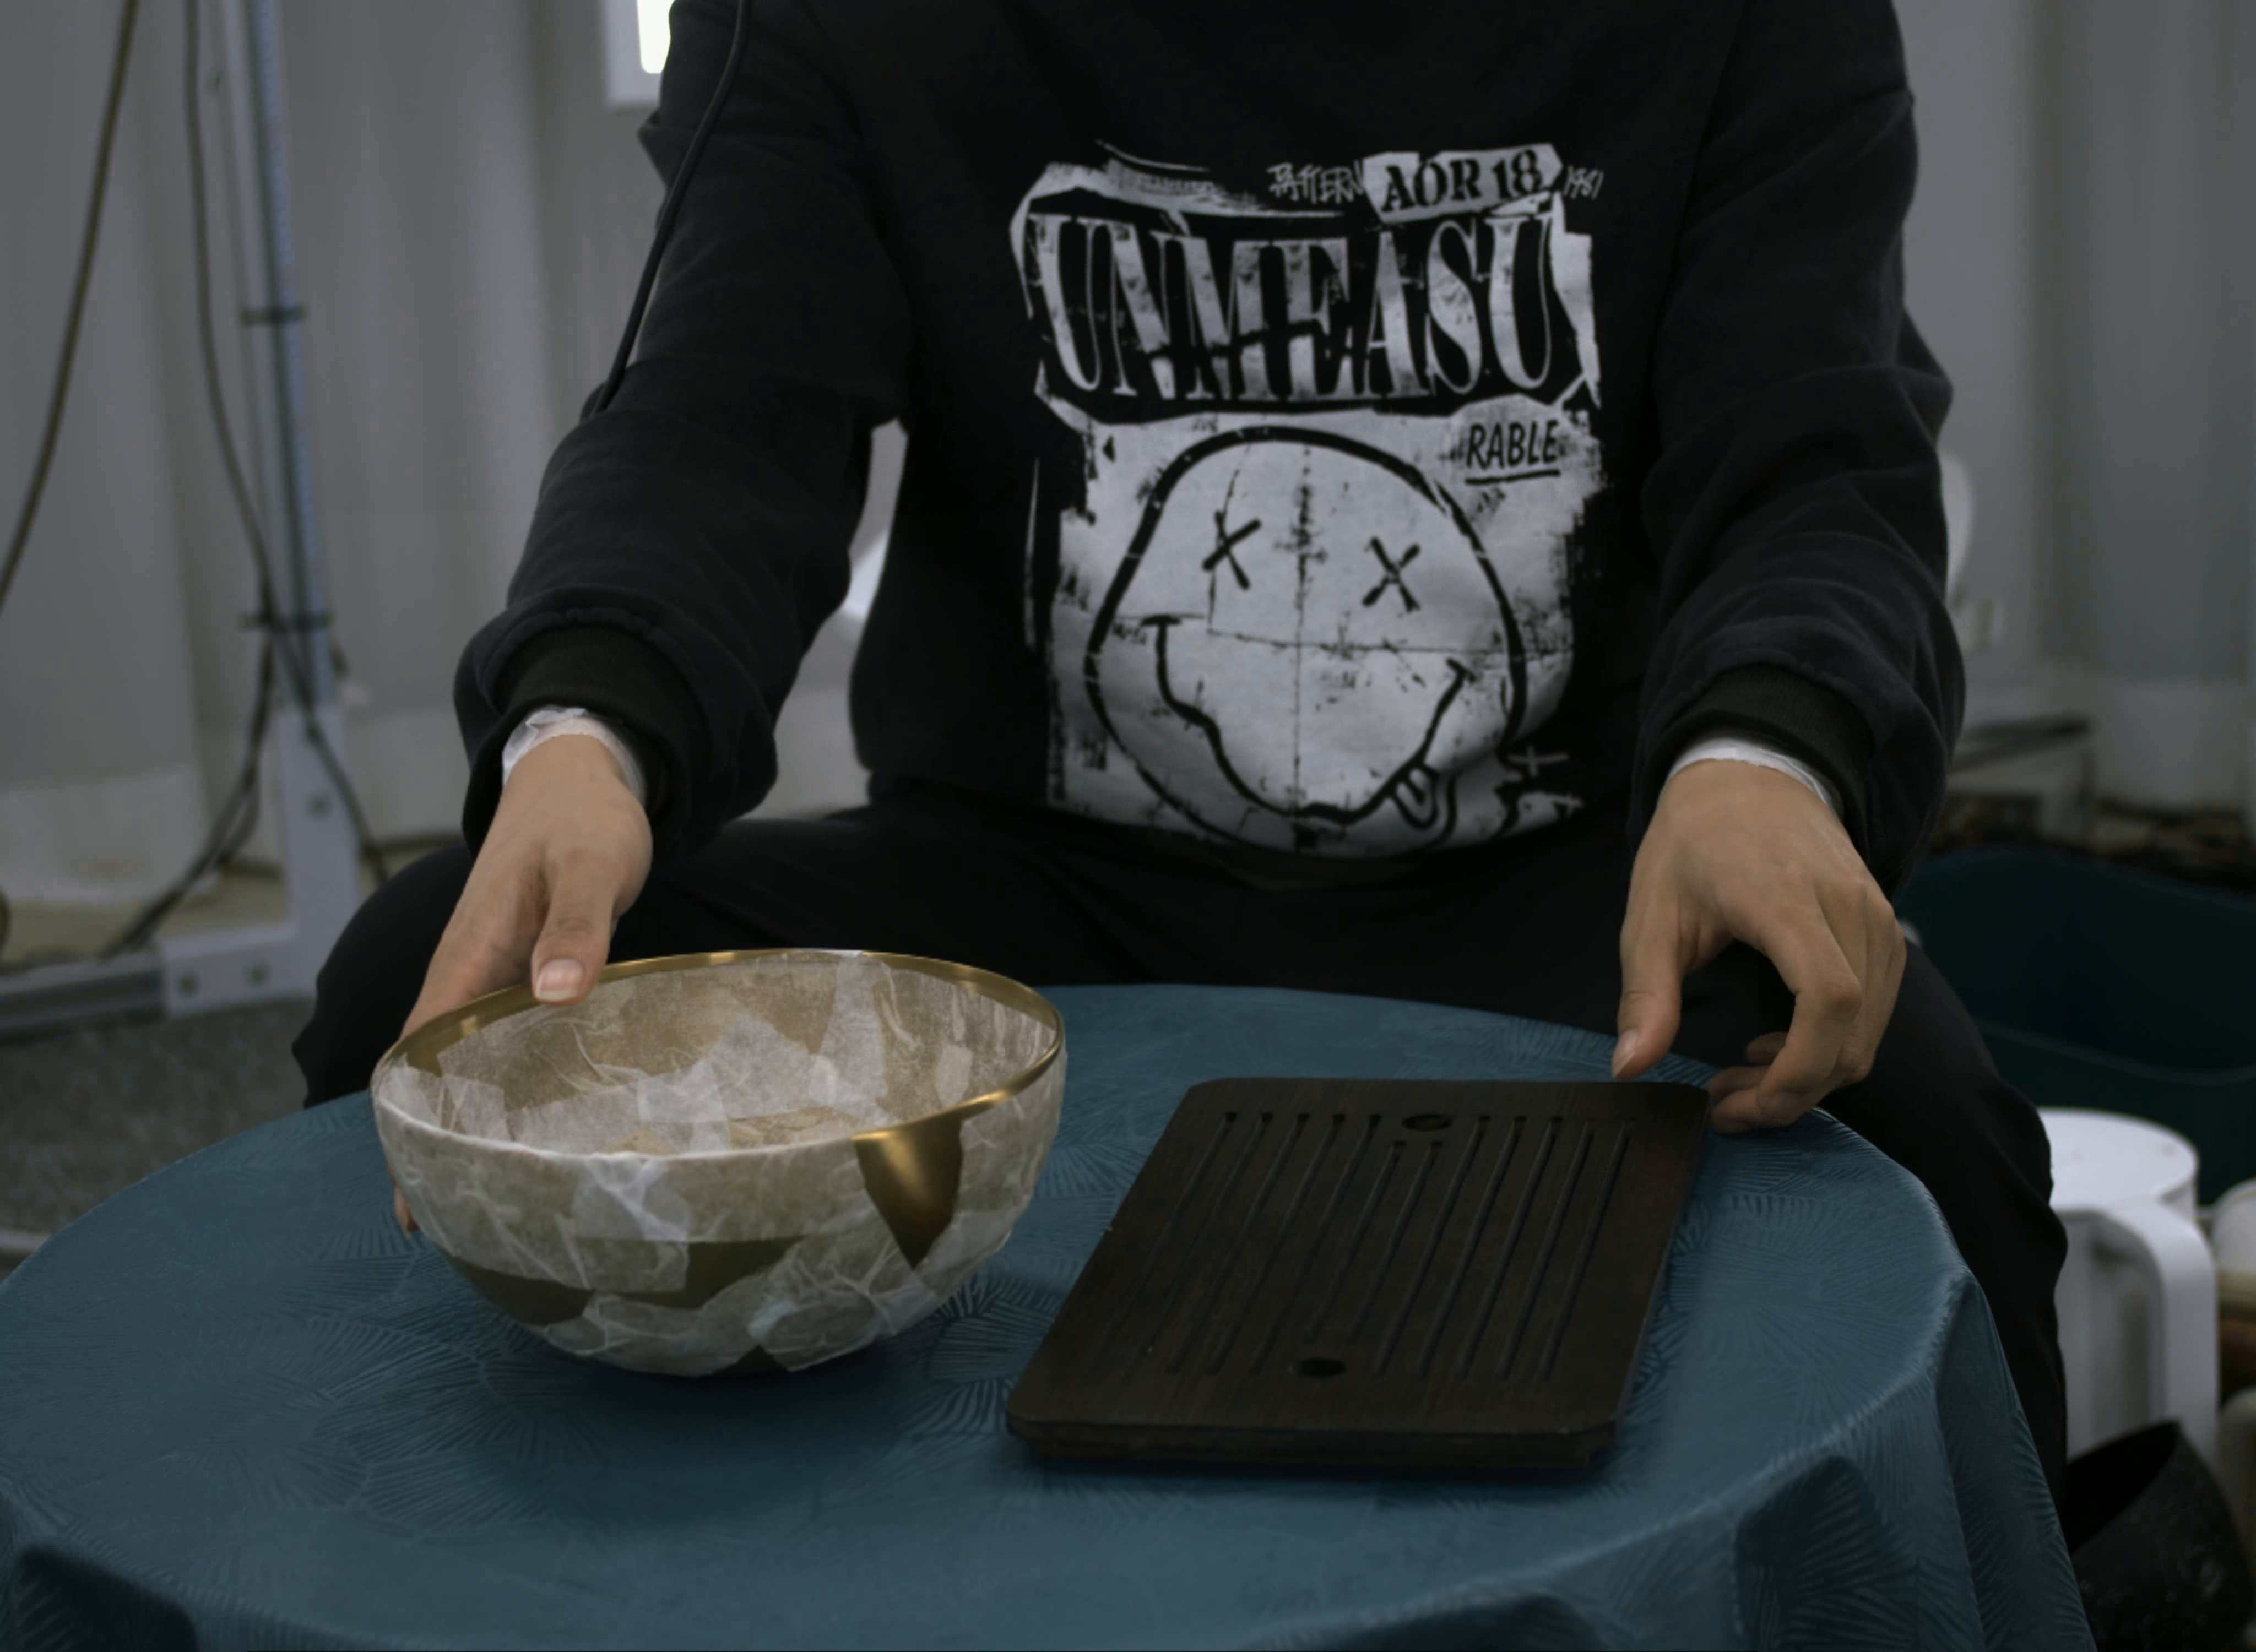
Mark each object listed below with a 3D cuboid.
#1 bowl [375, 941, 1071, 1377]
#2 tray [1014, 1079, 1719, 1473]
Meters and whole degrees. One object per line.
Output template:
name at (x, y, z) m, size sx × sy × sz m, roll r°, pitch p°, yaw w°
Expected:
bowl at (-0.112, 0.105, 1.595) m, size 0.214 × 0.094 × 0.216 m, roll -4°, pitch 14°, yaw 1°
tray at (0.078, 0.130, 1.610) m, size 0.170 × 0.018 × 0.307 m, roll 0°, pitch 15°, yaw 11°
